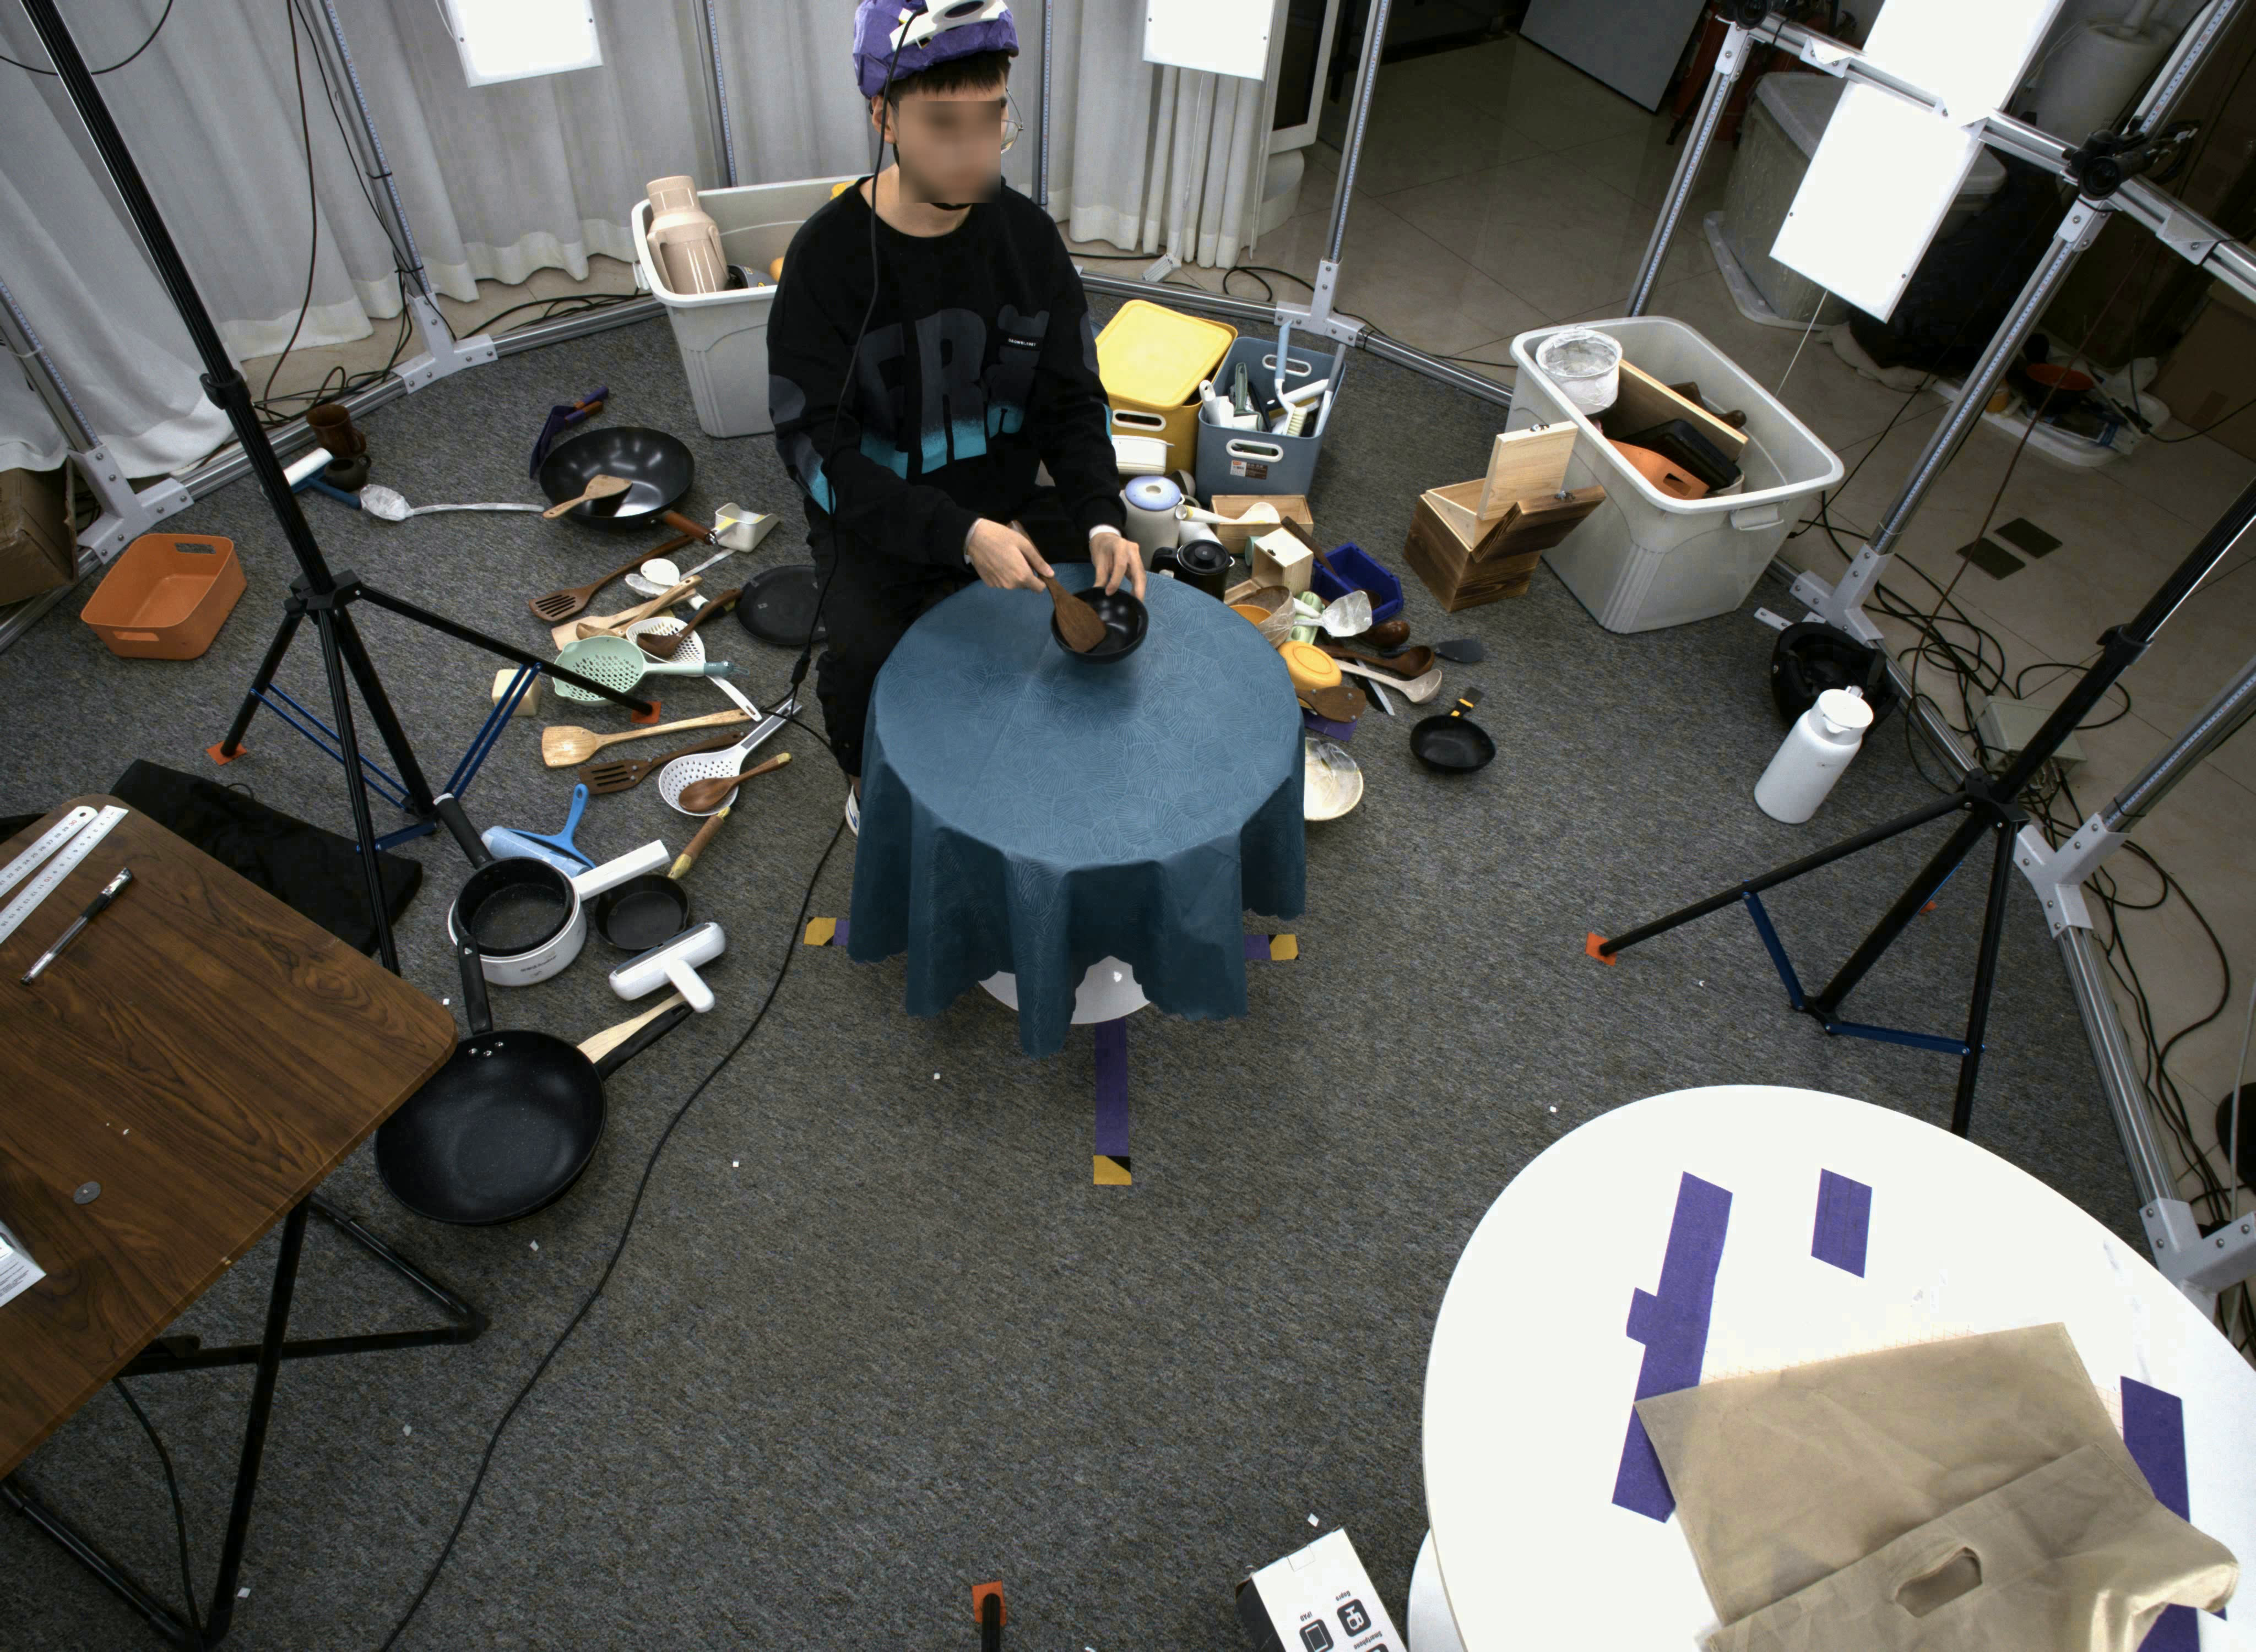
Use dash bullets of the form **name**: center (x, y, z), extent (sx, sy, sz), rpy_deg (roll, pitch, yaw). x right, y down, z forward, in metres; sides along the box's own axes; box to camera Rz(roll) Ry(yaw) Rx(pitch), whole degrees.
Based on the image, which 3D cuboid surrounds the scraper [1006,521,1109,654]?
- **scraper**: center (-0.107, -0.343, 1.843), extent (0.077, 0.011, 0.210), rpy_deg (-40, 99, -35)

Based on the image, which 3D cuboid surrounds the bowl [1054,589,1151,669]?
- **bowl**: center (-0.035, -0.274, 1.843), extent (0.140, 0.048, 0.143), rpy_deg (-3, 52, 4)
